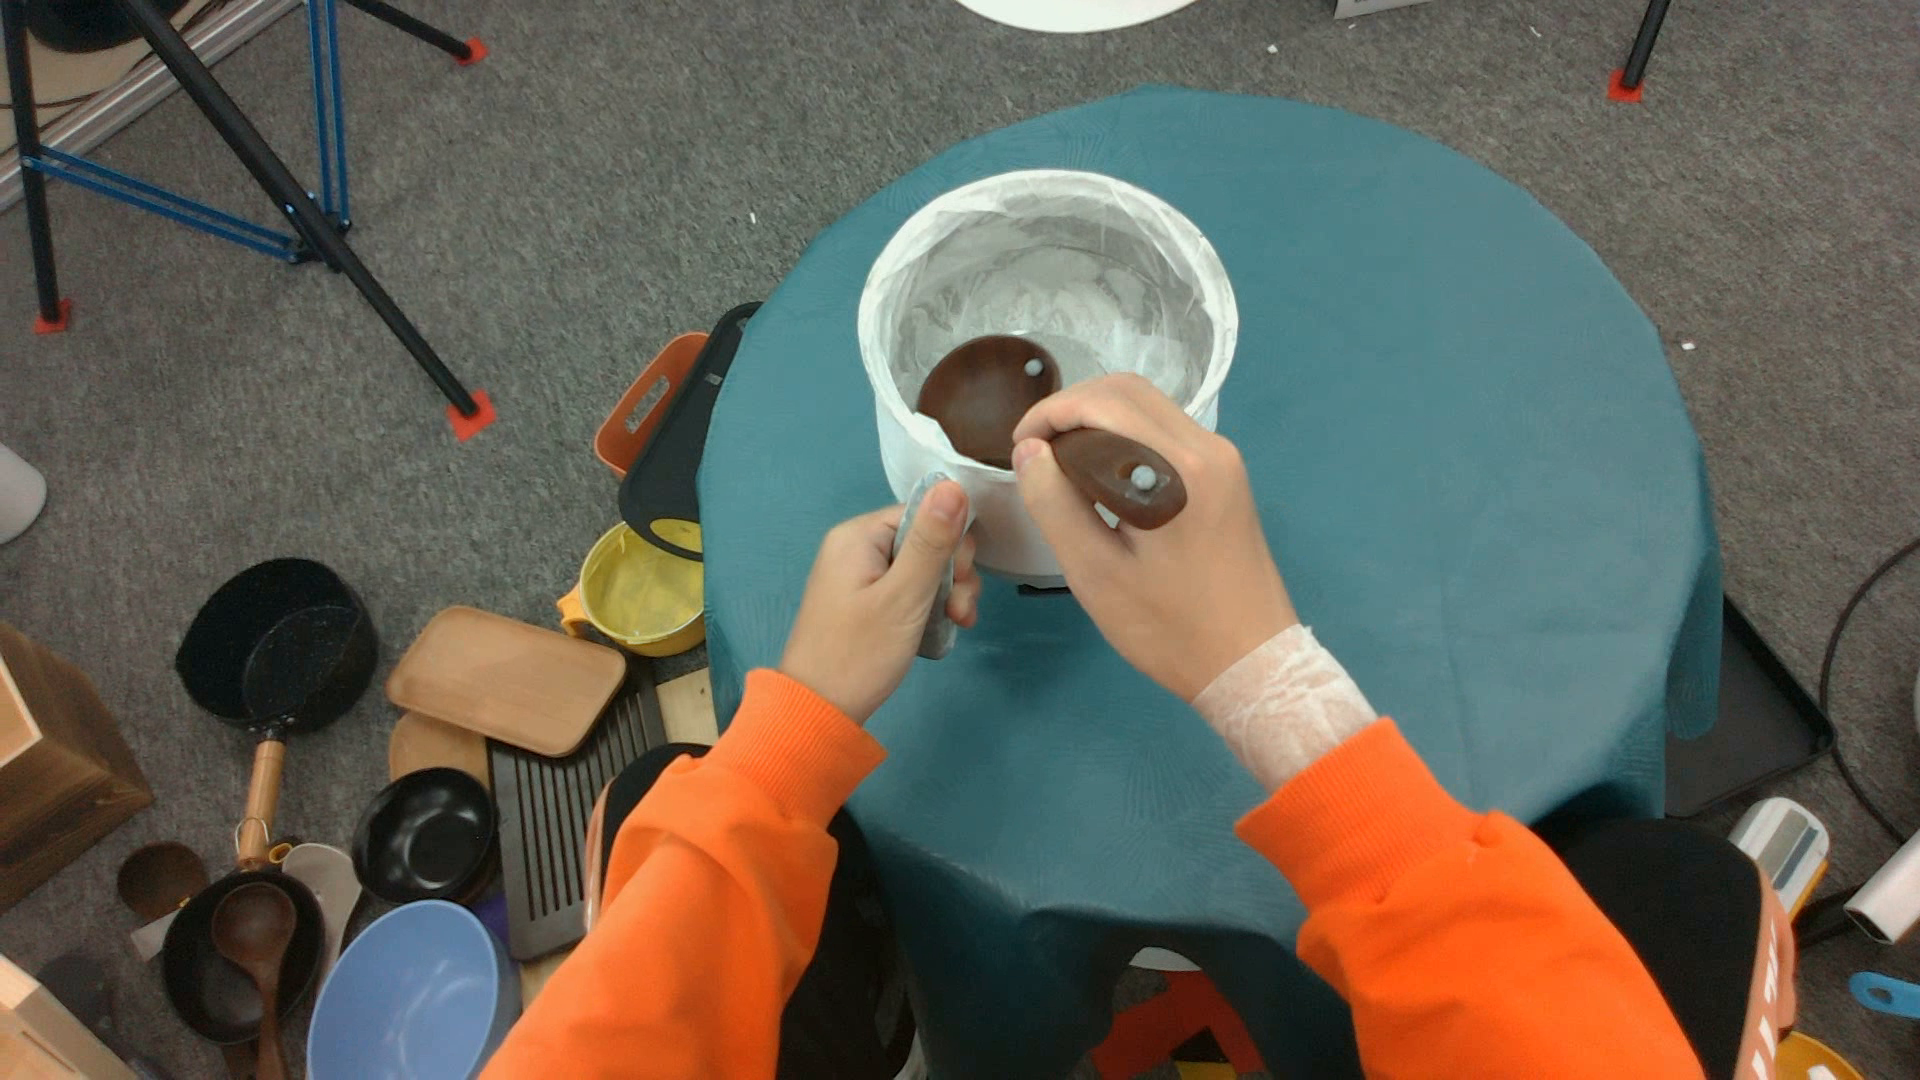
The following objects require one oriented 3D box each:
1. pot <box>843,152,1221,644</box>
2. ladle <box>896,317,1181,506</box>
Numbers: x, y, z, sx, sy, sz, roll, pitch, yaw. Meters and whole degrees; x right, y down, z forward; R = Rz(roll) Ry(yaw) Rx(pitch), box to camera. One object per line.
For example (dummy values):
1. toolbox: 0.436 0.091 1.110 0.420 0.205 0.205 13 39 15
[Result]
1. pot: 0.024 -0.063 0.689 0.178 0.136 0.234 23 67 14
2. ladle: 0.026 -0.058 0.580 0.076 0.260 0.065 -39 104 -3
